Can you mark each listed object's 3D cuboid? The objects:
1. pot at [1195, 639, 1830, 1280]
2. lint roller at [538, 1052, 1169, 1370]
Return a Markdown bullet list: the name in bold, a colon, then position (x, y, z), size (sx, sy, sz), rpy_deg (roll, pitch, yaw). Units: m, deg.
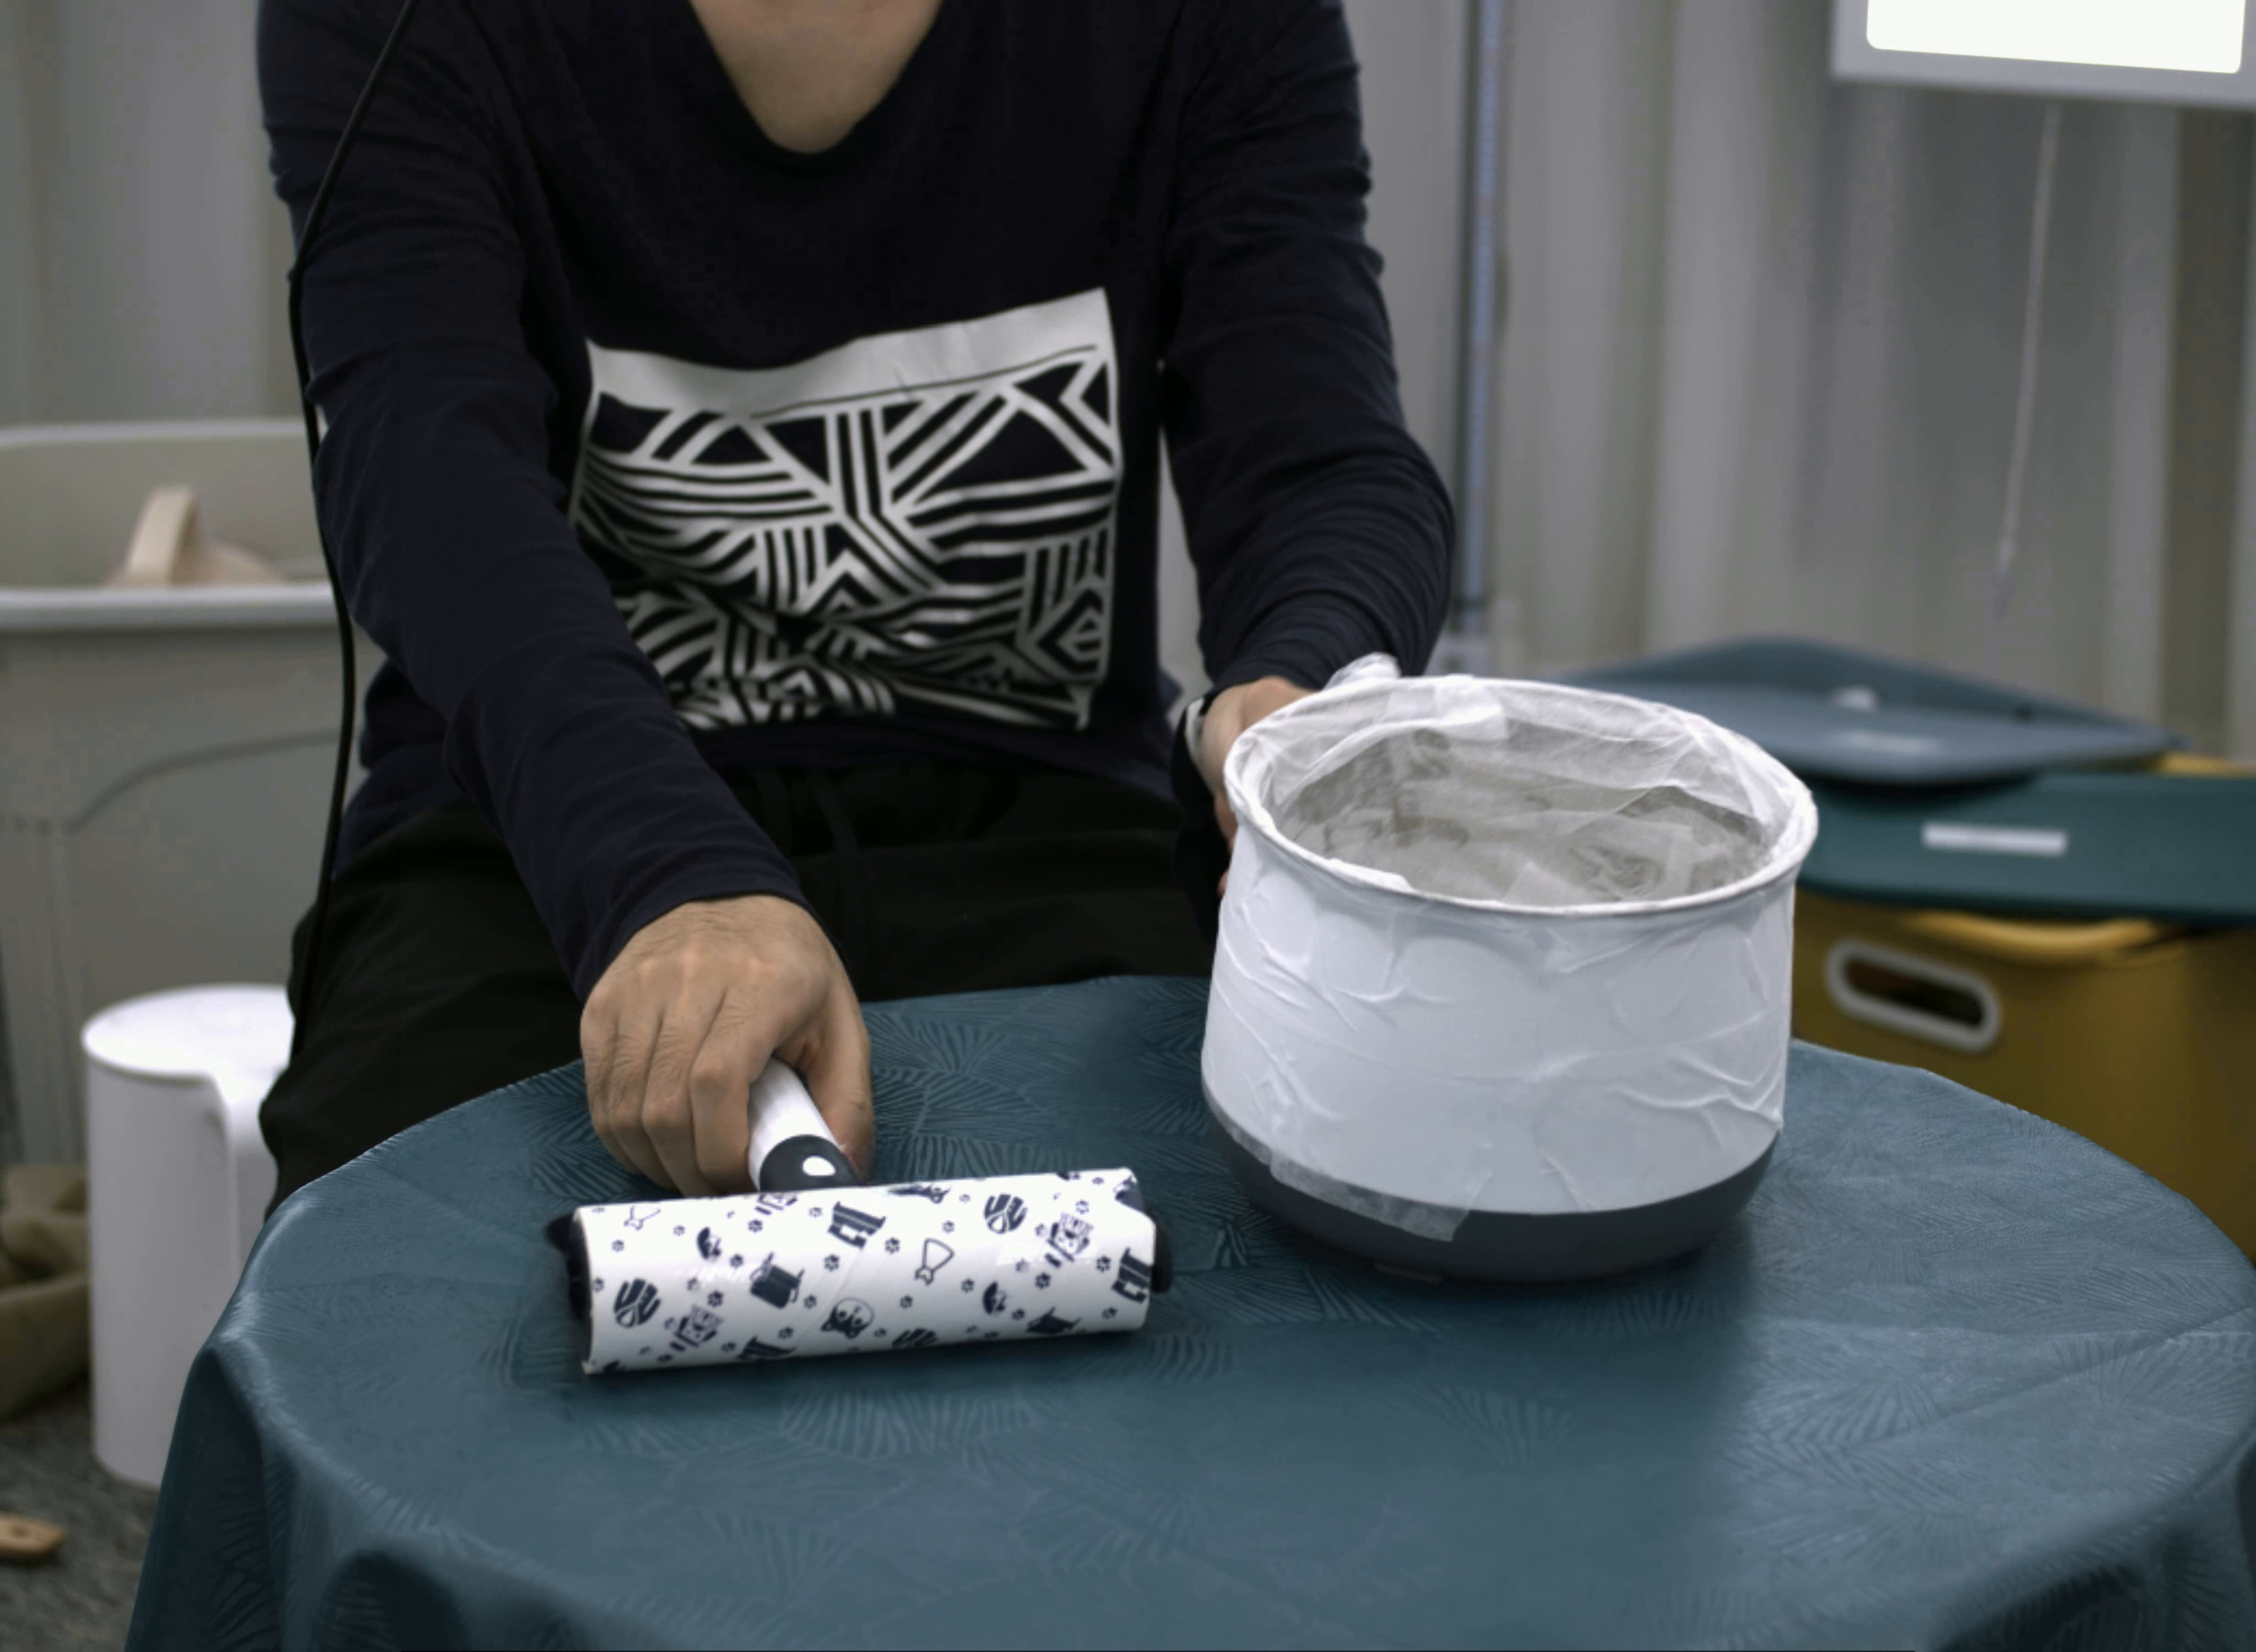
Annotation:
- **pot**: position (0.100, 0.034, 1.602), size (0.179, 0.138, 0.230), rpy_deg (-4, 26, -27)
- **lint roller**: position (-0.101, 0.101, 1.579), size (0.176, 0.051, 0.245), rpy_deg (-5, 14, -13)
